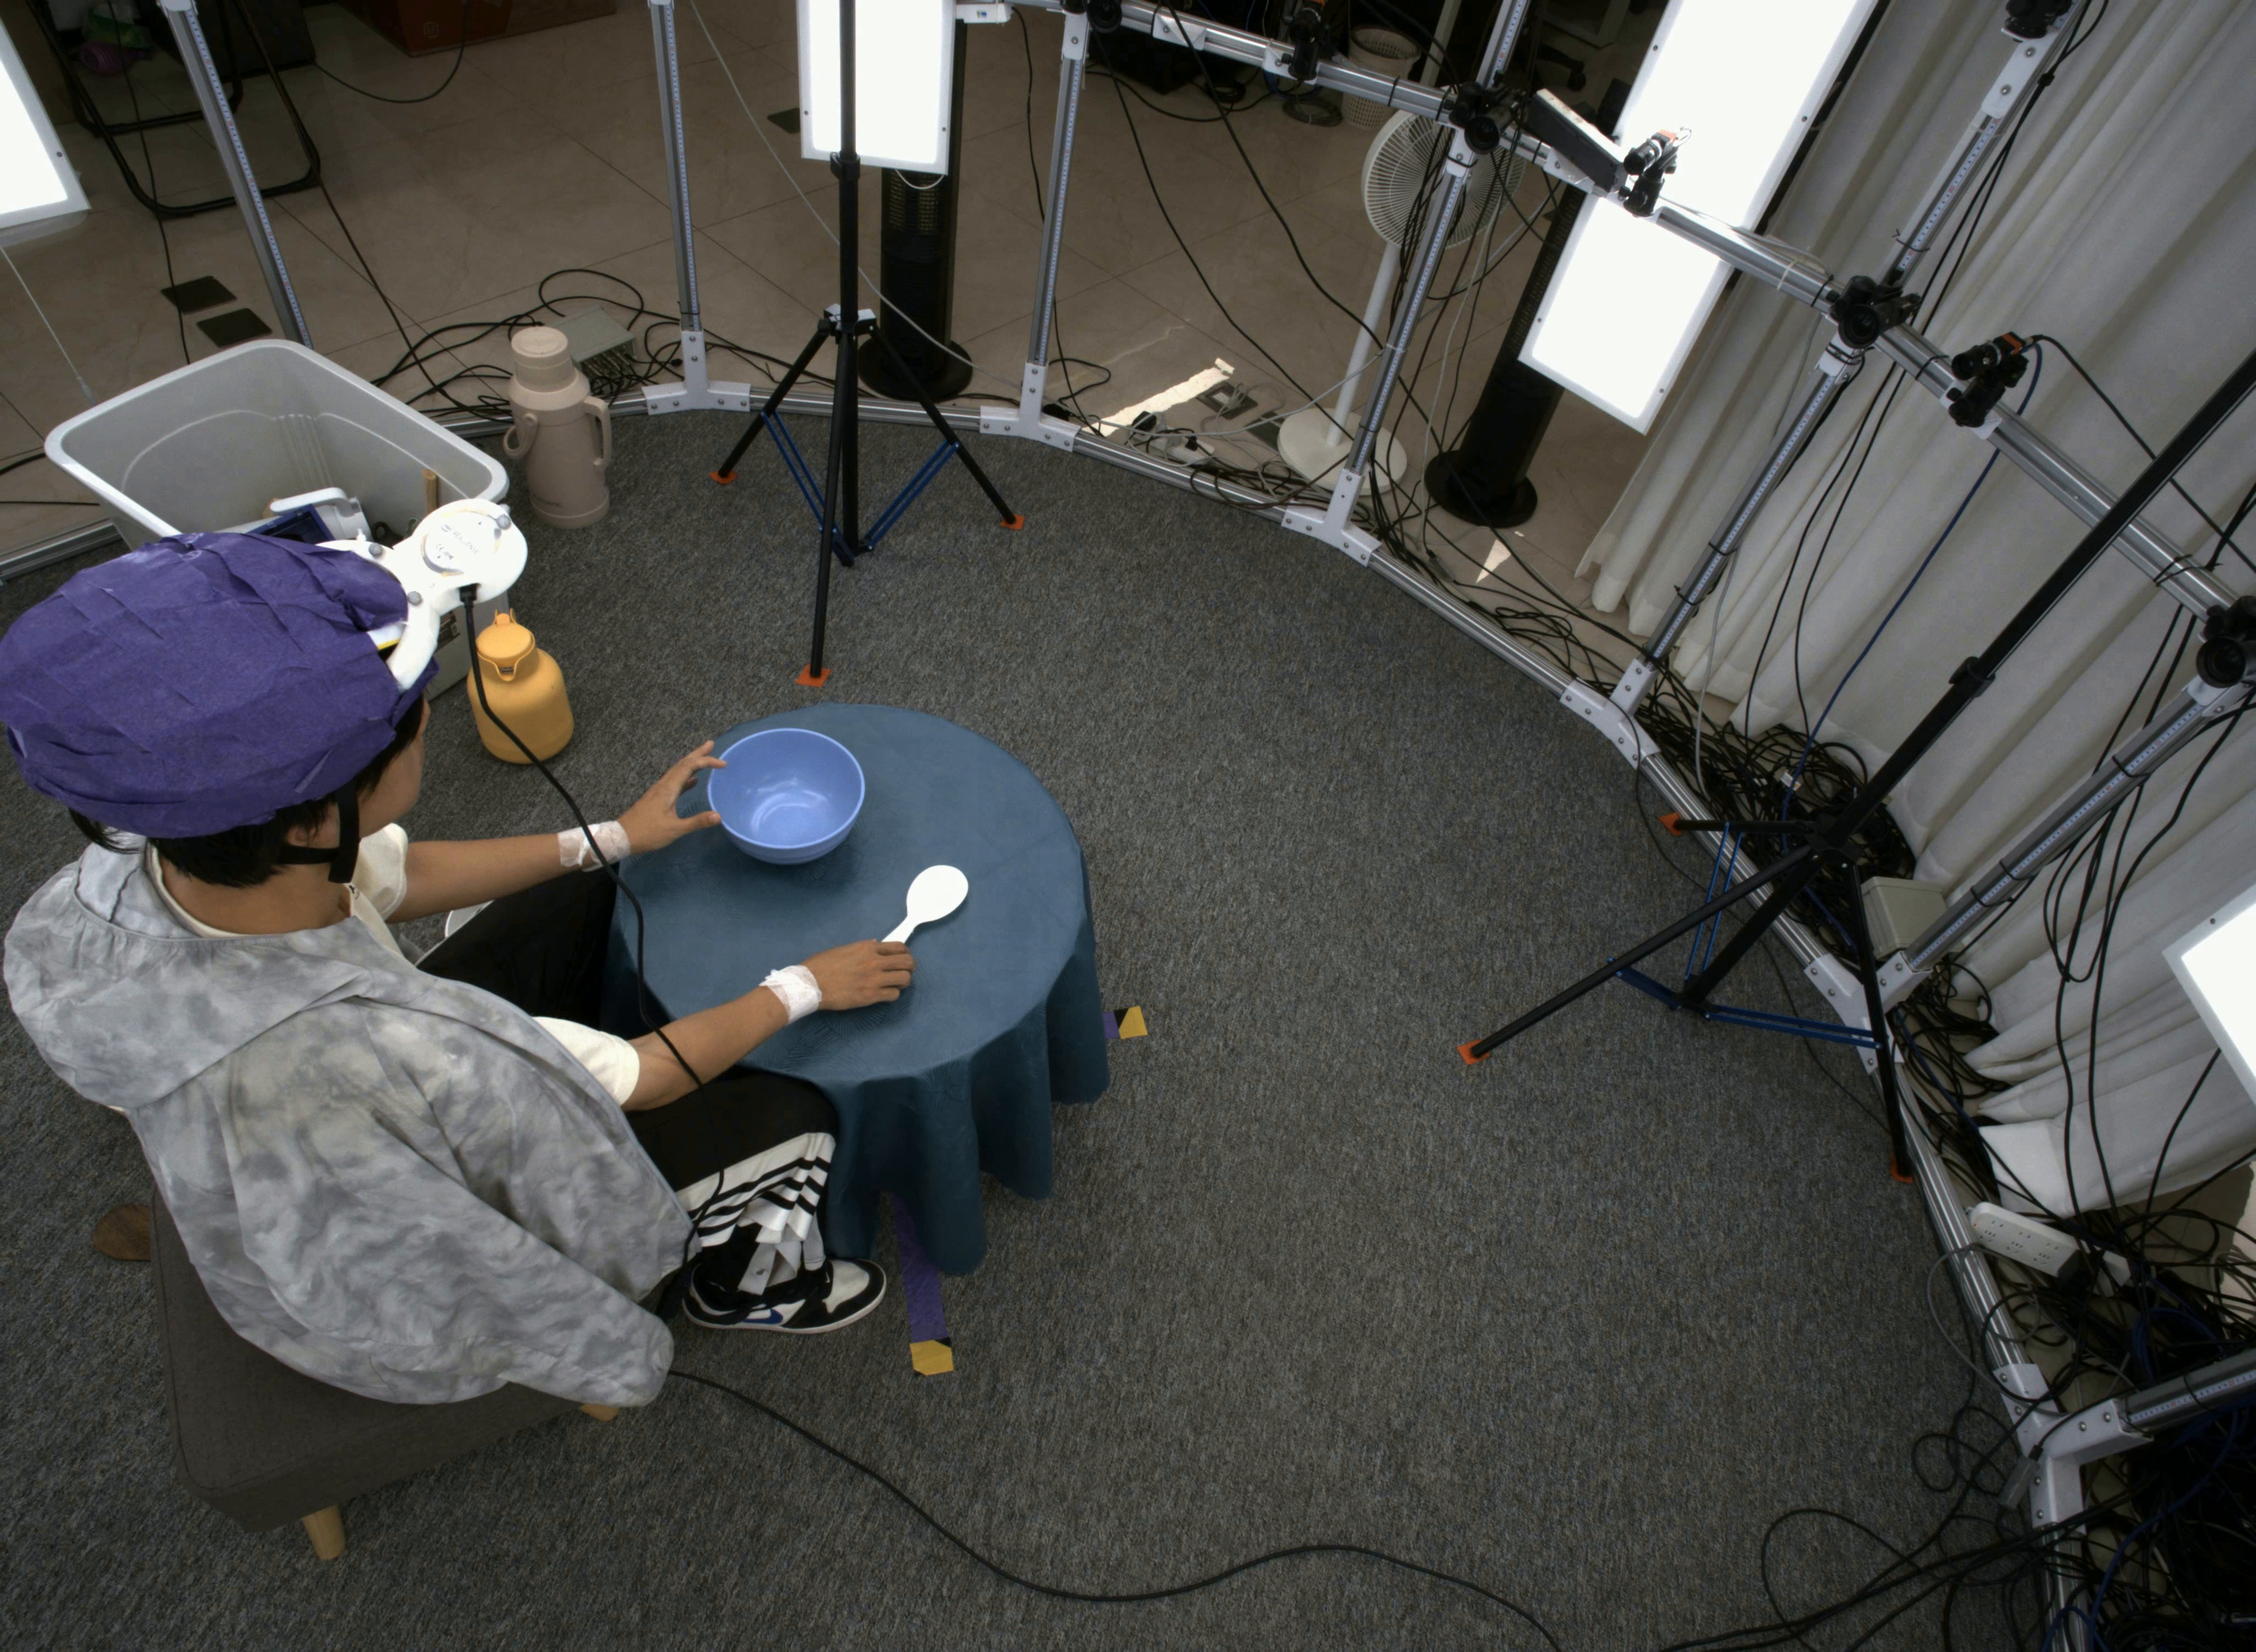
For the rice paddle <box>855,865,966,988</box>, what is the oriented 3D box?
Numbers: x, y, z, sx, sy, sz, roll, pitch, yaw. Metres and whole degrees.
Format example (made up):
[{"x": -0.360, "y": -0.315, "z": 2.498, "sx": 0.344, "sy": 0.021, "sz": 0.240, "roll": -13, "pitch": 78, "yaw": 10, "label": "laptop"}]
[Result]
[{"x": -0.276, "y": 0.120, "z": 1.654, "sx": 0.068, "sy": 0.030, "sz": 0.204, "roll": 30, "pitch": 53, "yaw": 8, "label": "rice paddle"}]

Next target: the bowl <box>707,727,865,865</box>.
[{"x": -0.440, "y": -0.024, "z": 1.677, "sx": 0.196, "sy": 0.097, "sz": 0.193, "roll": 8, "pitch": 51, "yaw": -9, "label": "bowl"}]
